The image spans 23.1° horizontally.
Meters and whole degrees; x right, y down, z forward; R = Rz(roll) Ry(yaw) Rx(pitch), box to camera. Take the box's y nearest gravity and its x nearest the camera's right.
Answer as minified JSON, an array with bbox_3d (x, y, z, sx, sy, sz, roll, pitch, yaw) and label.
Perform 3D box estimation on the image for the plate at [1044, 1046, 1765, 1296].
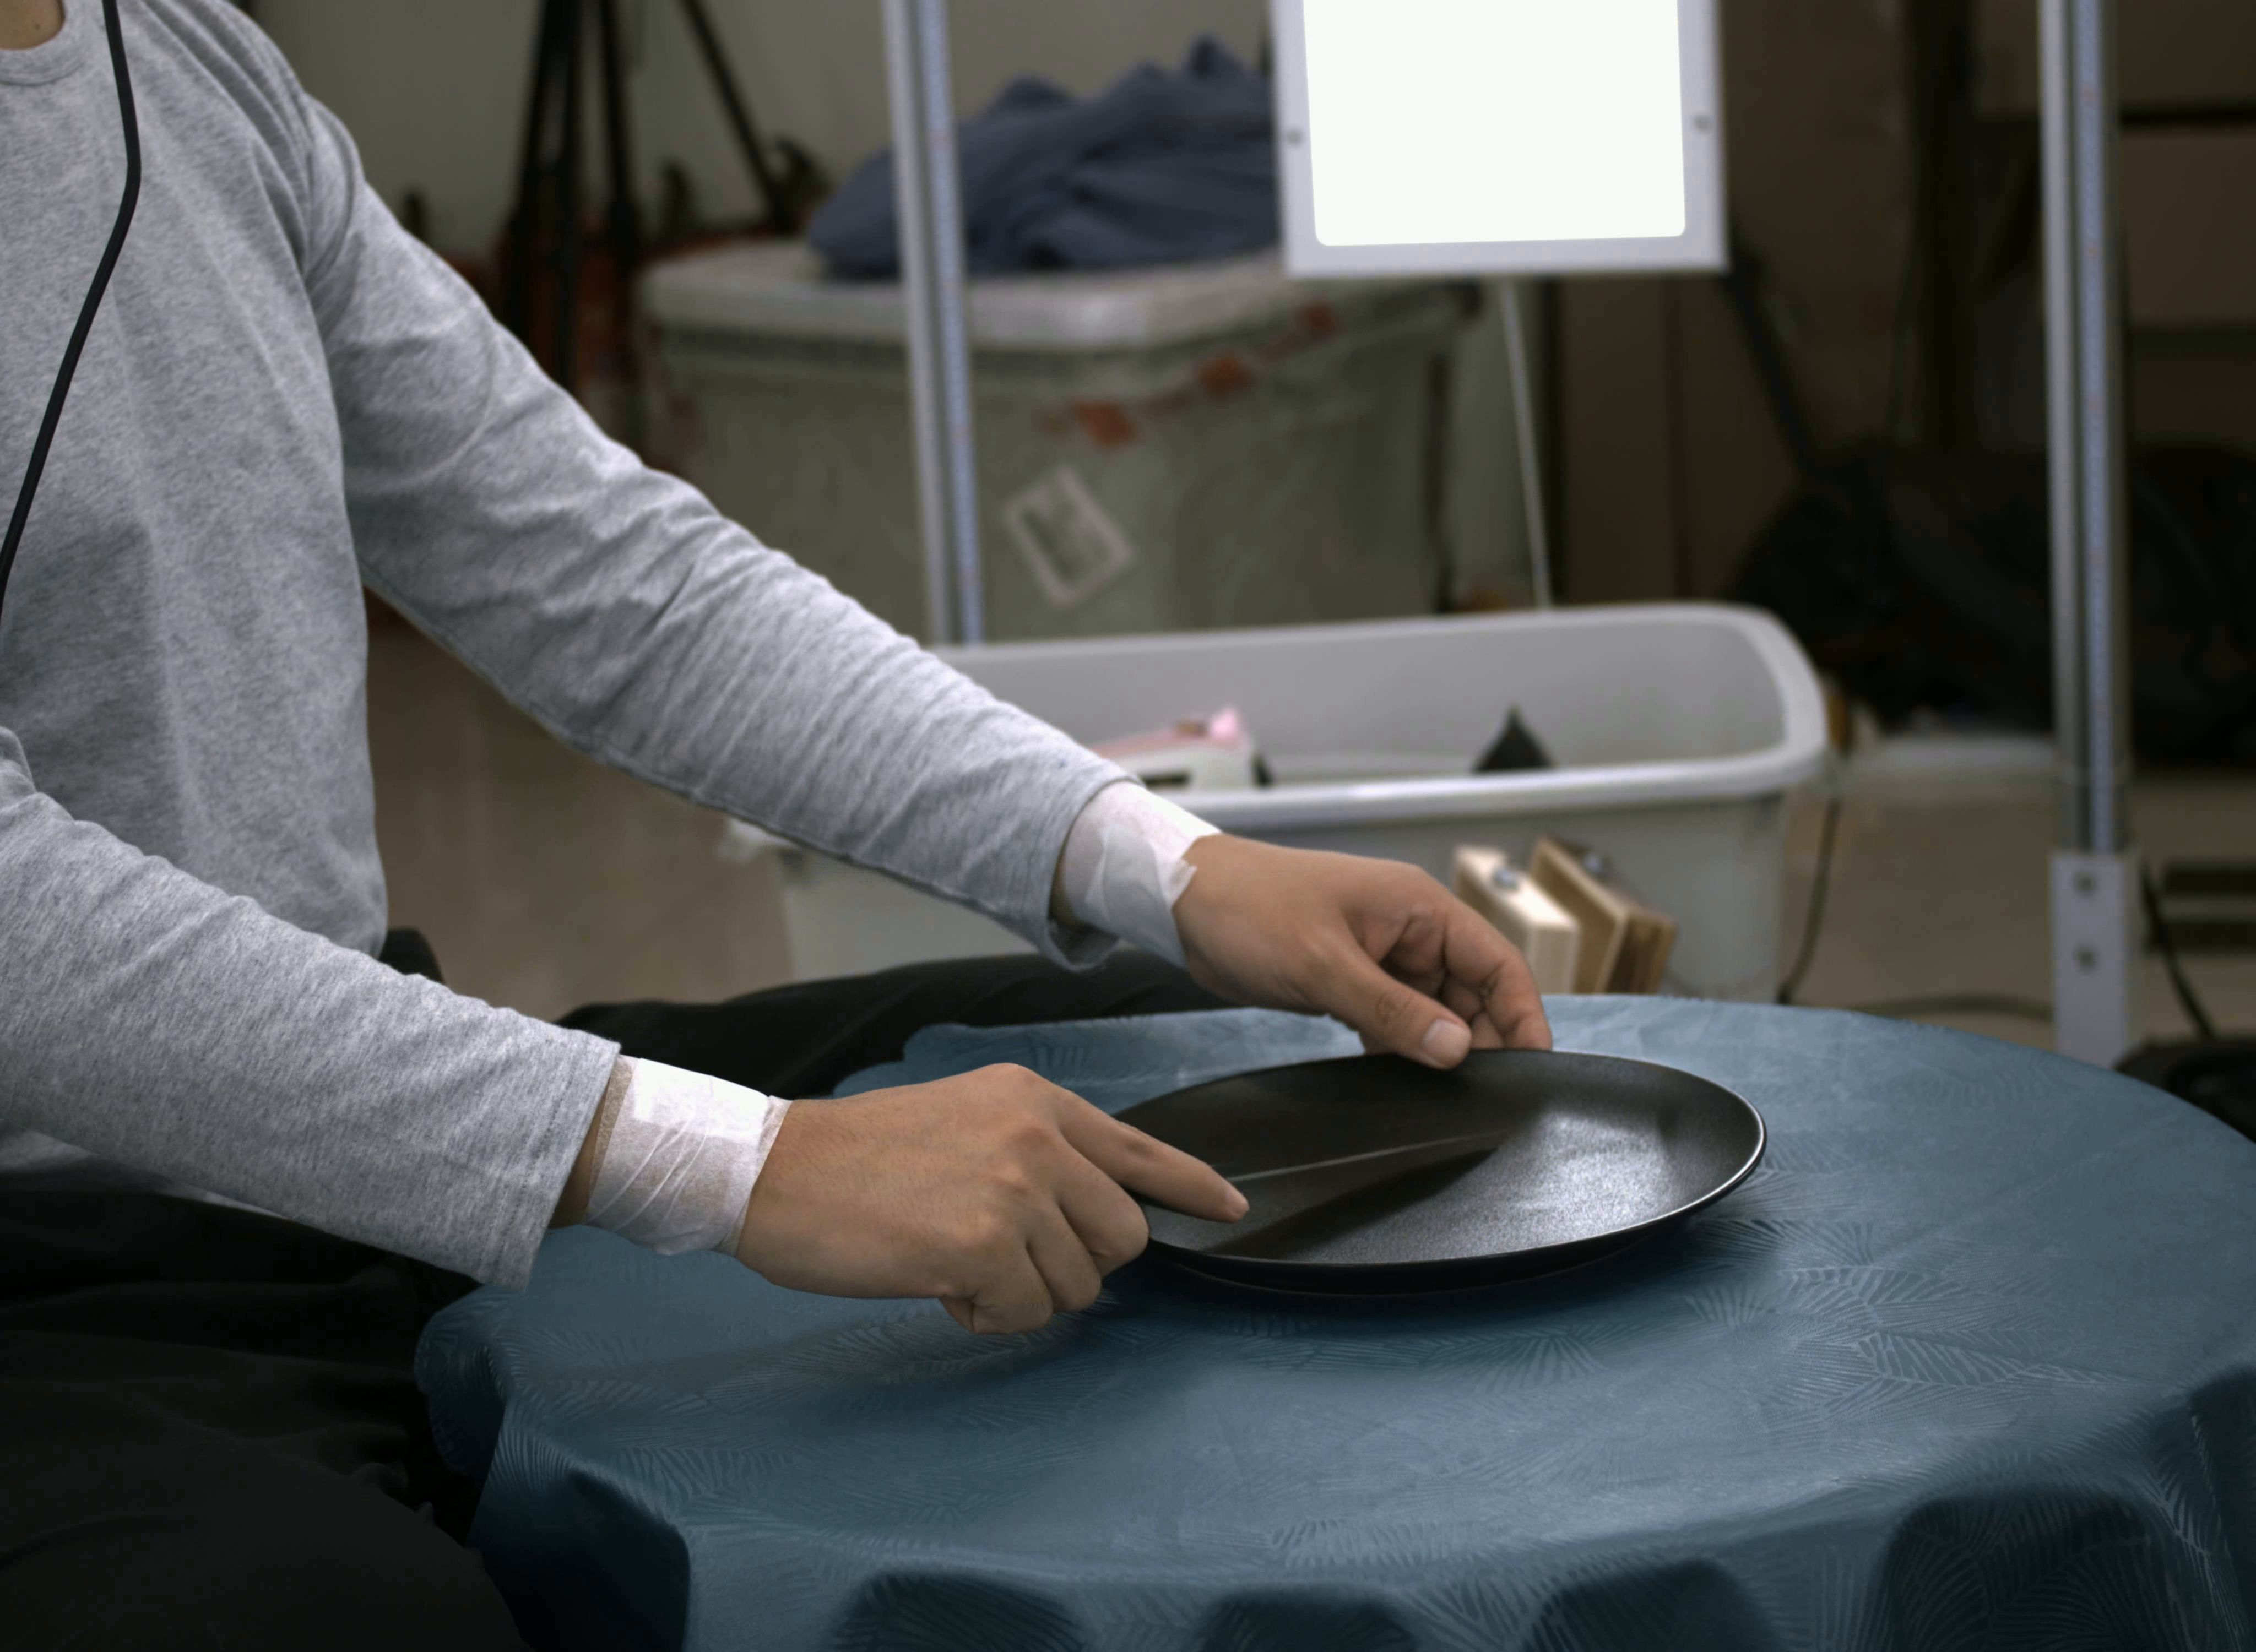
[{"bbox_3d":[0.094,0.118,1.853,0.244,0.023,0.244,-5,14,0],"label":"plate"}]

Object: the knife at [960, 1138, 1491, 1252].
[{"bbox_3d":[0.040,0.118,1.818,0.232,0.016,0.025,-7,-6,-40],"label":"knife"}]
